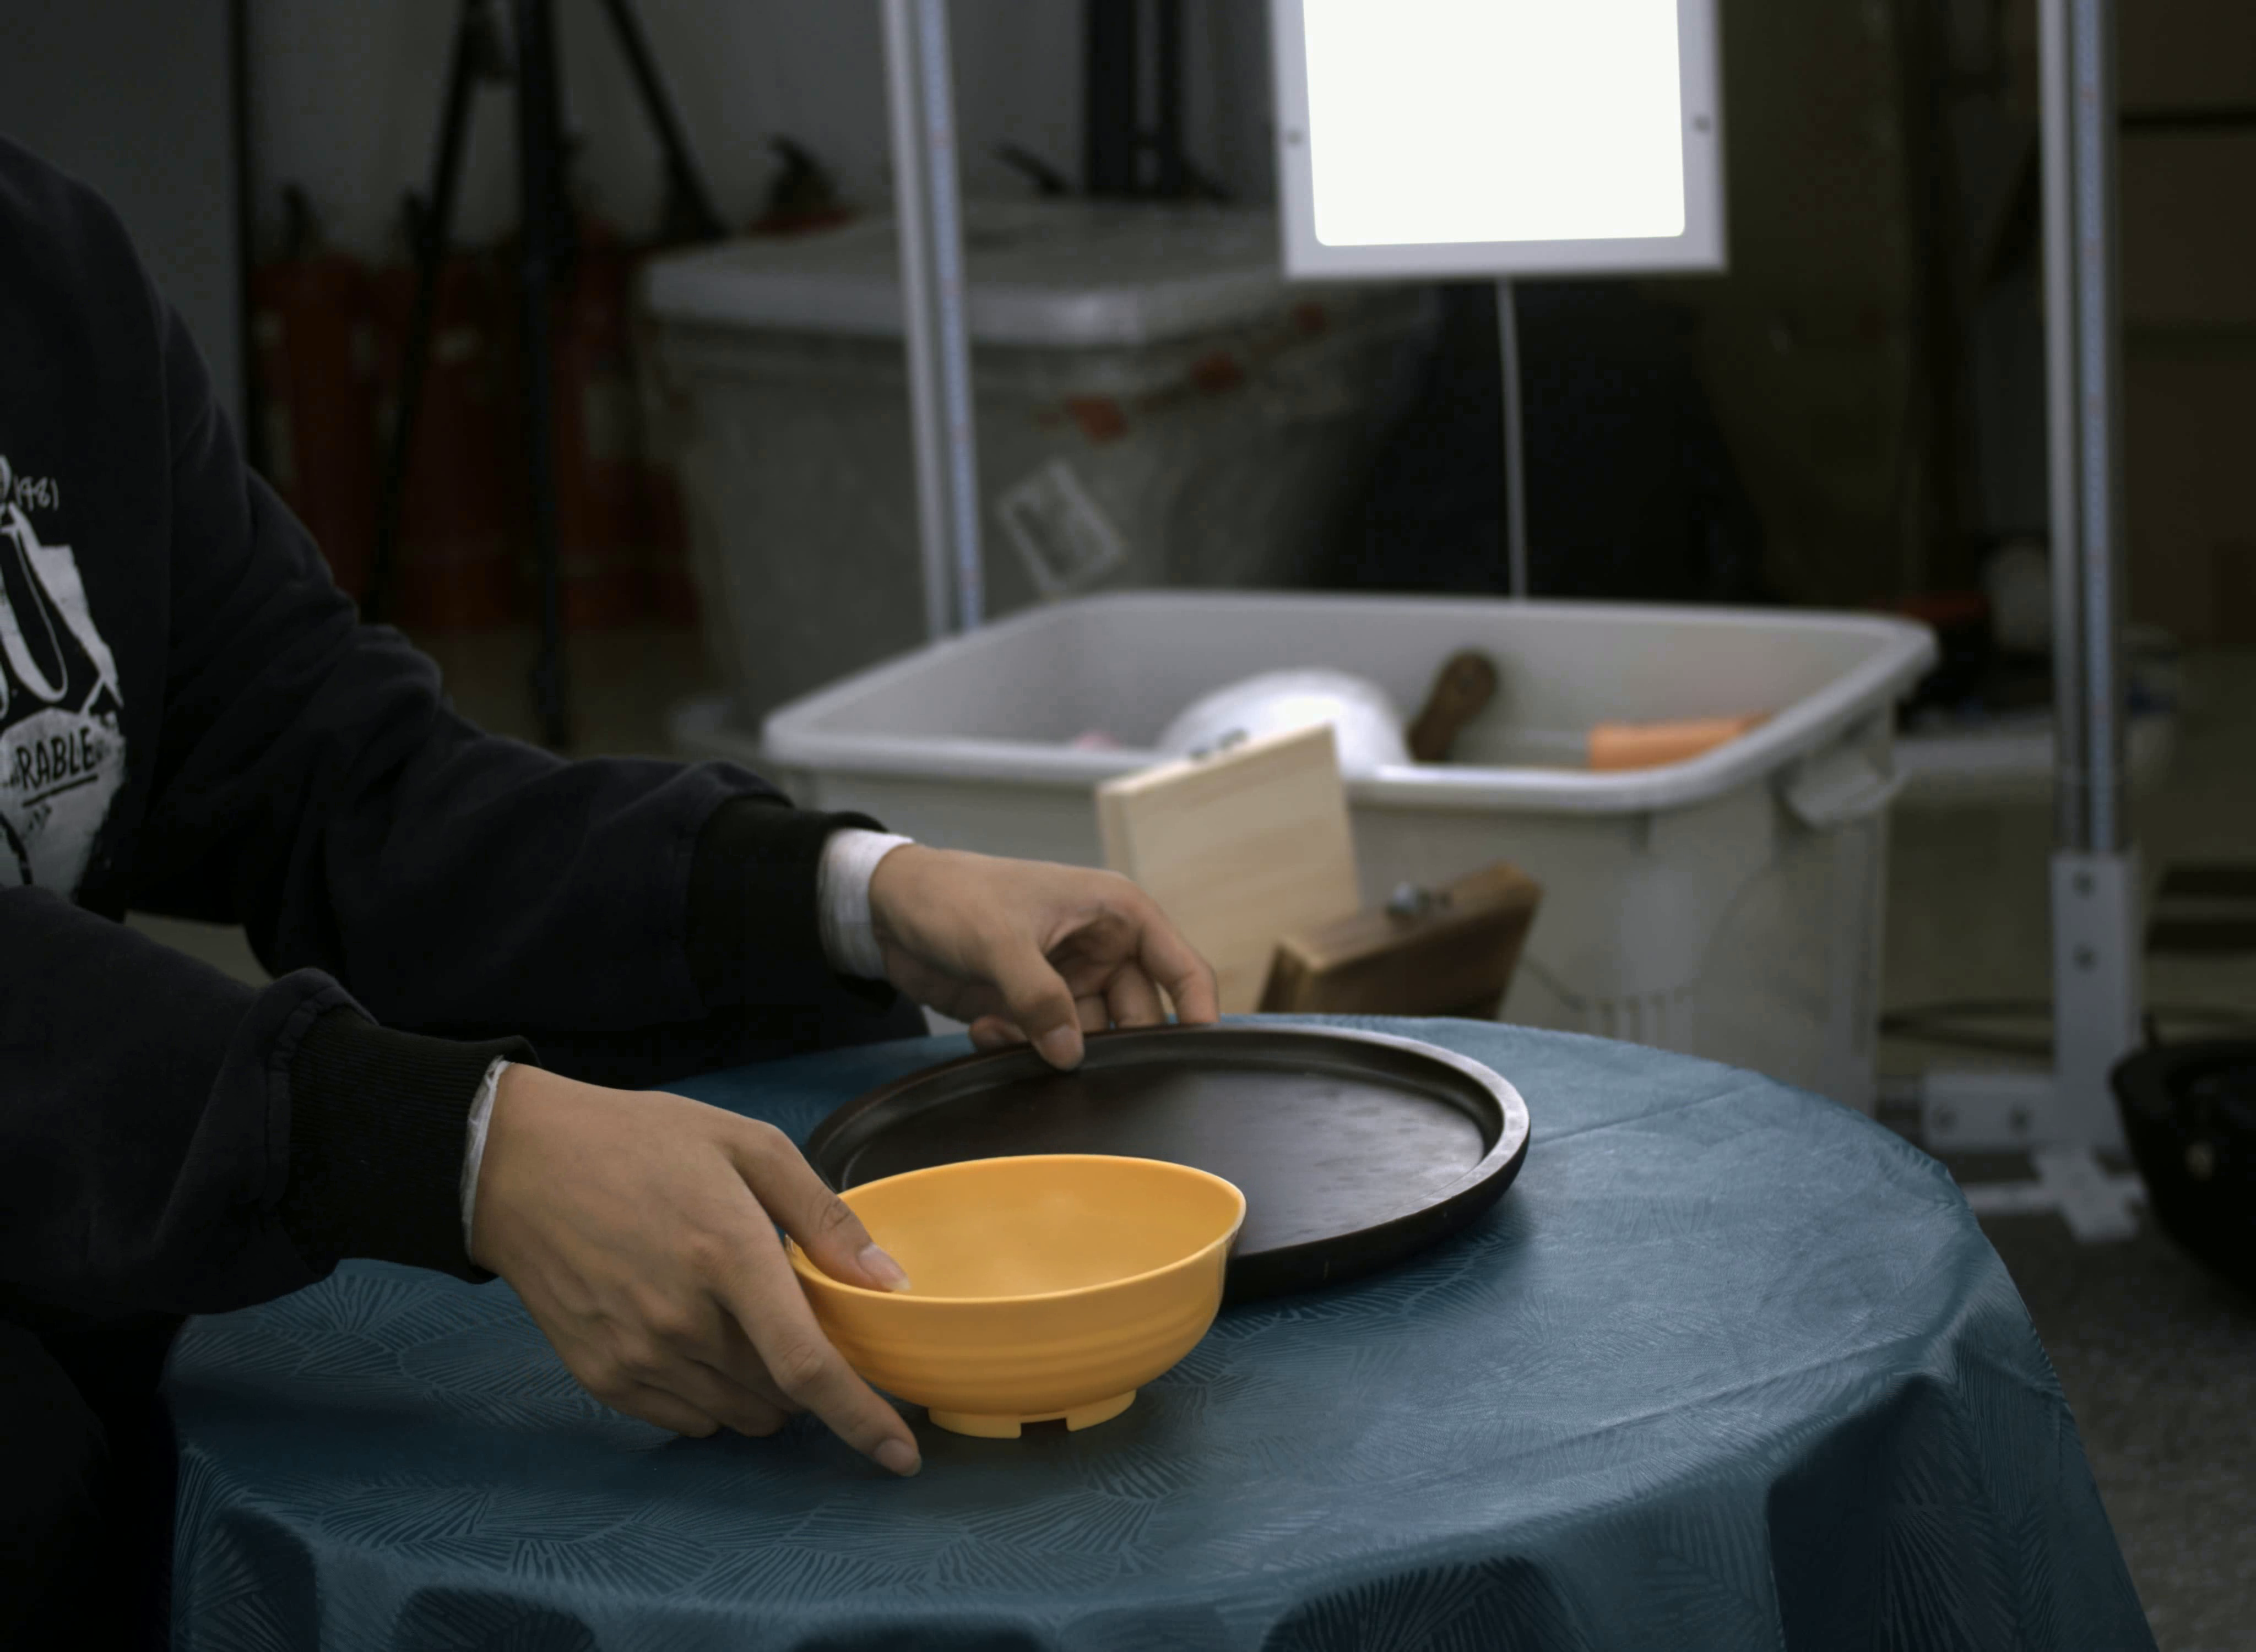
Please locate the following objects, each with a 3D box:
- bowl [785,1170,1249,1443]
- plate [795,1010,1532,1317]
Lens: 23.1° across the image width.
[{"bbox_3d":[-0.031,0.151,1.691,0.145,0.060,0.145,-6,11,0],"label":"bowl"},{"bbox_3d":[0.013,0.116,1.880,0.254,0.029,0.254,-6,16,0],"label":"plate"}]
